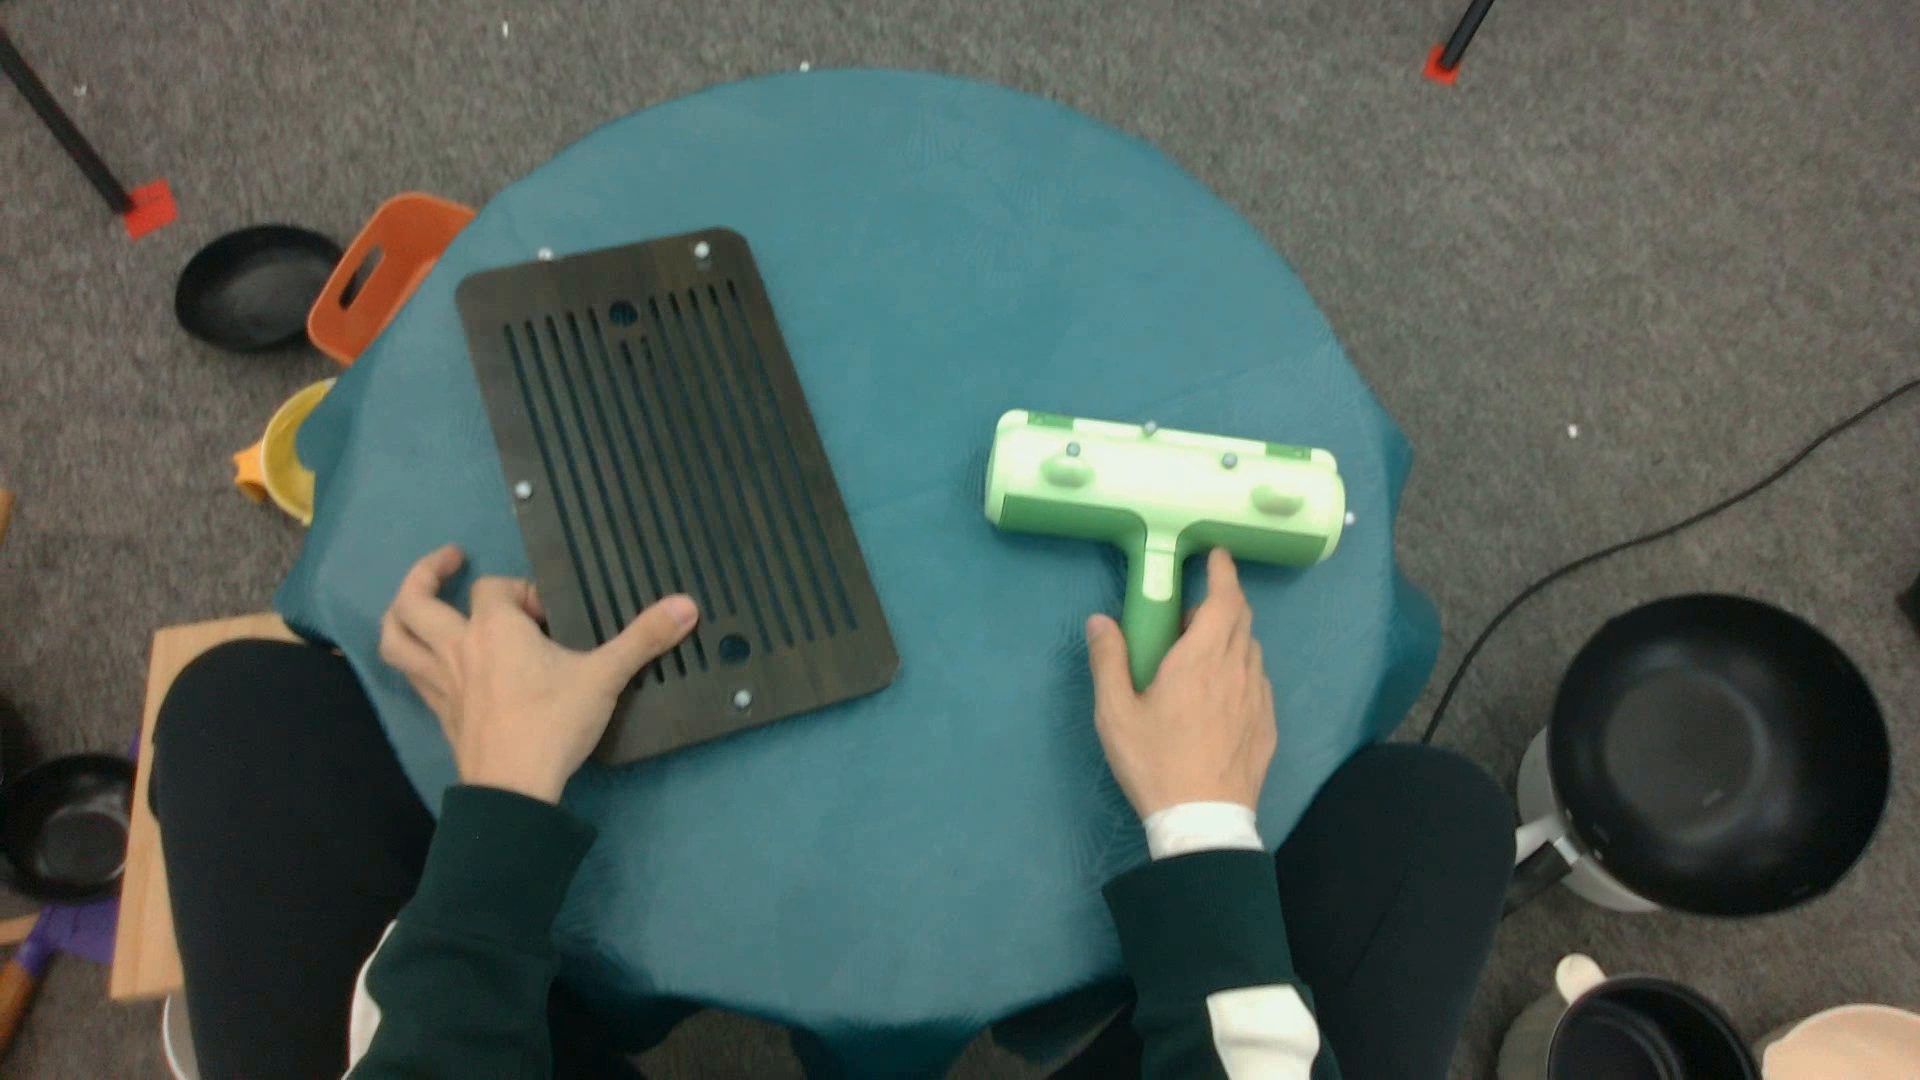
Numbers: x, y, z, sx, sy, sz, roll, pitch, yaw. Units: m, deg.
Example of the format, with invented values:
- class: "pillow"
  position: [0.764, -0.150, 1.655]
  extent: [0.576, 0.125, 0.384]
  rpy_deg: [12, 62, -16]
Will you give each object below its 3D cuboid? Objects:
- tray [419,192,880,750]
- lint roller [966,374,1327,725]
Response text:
- class: "tray"
  position: [-0.172, -0.049, 0.752]
  extent: [0.170, 0.018, 0.306]
  rpy_deg: [-16, 73, -20]
- class: "lint roller"
  position: [0.099, 0.002, 0.739]
  extent: [0.198, 0.082, 0.184]
  rpy_deg: [7, 67, -3]
